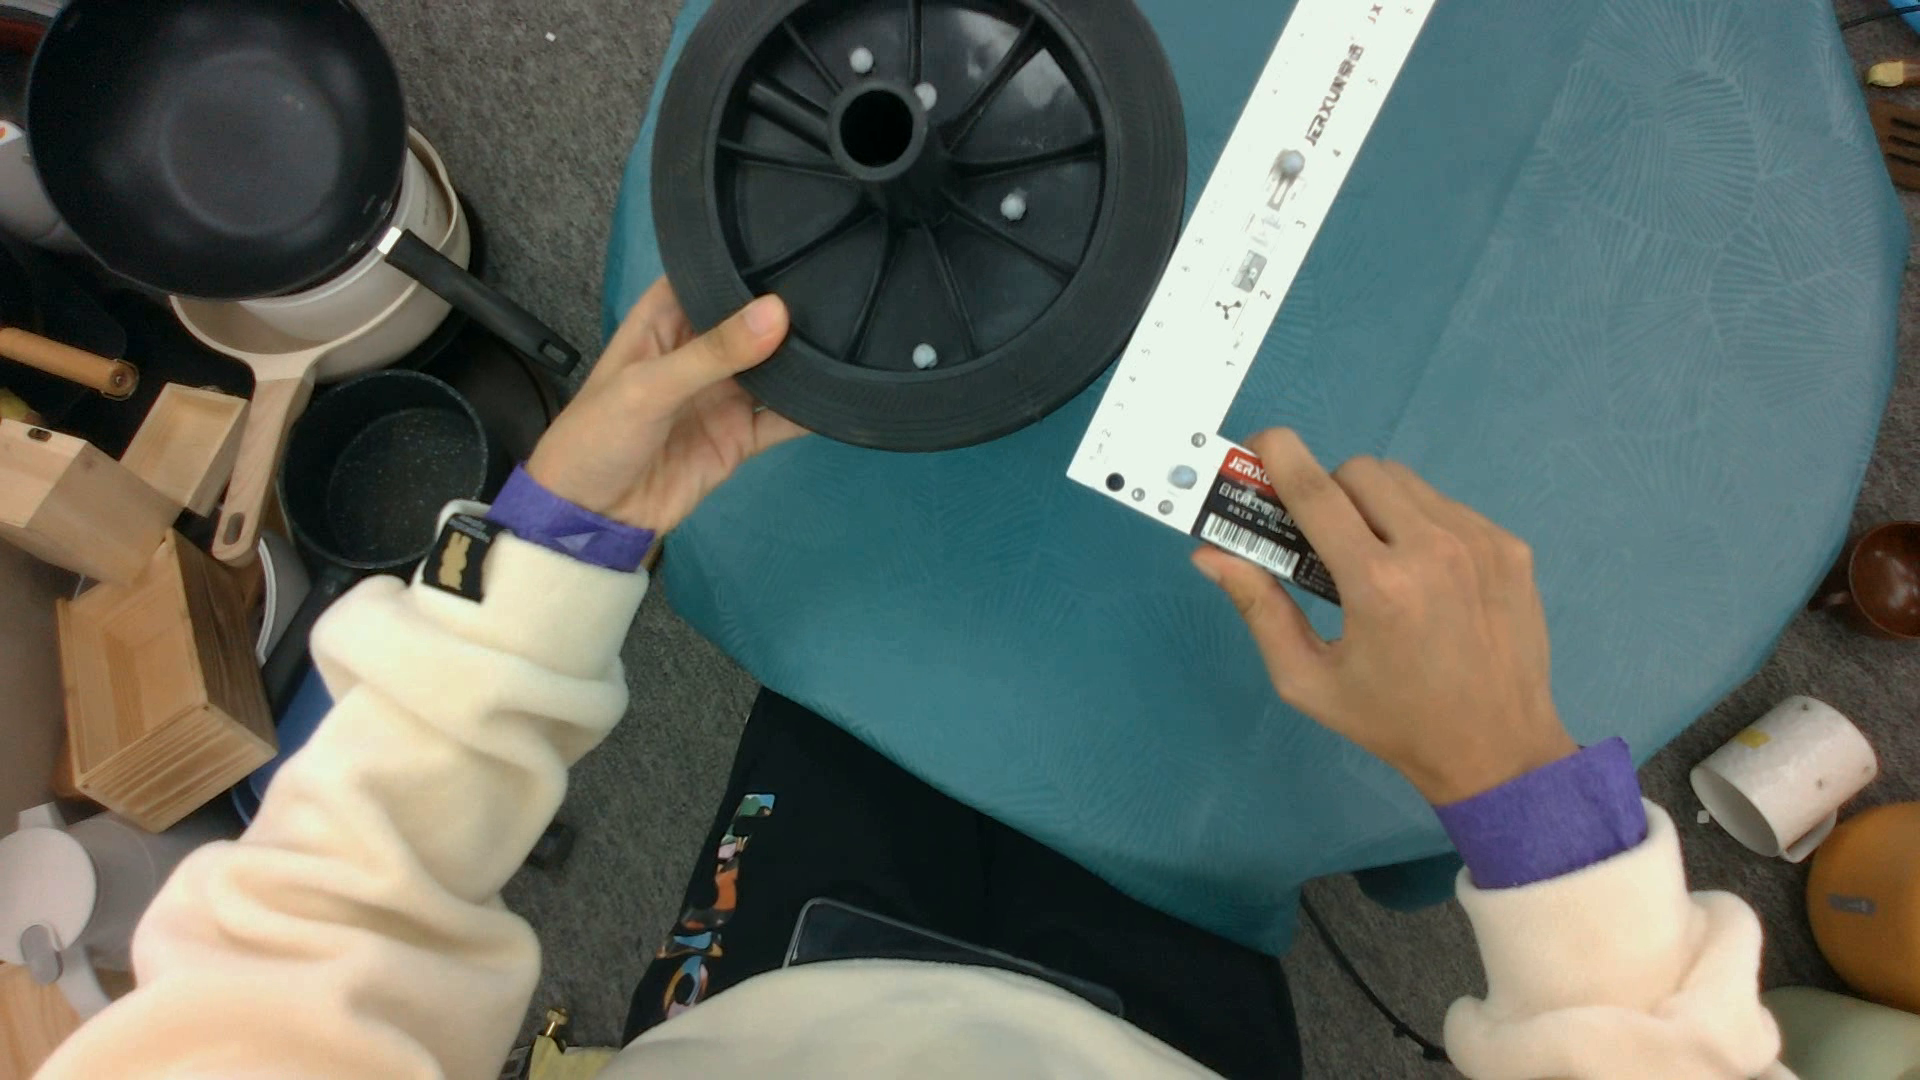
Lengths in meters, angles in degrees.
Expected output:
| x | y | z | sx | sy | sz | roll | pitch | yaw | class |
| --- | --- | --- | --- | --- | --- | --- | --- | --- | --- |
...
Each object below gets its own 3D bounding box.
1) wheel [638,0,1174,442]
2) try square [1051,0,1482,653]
| x | y | z | sx | sy | sz | roll | pitch | yaw | class |
| --- | --- | --- | --- | --- | --- | --- | --- | --- | --- |
| -0.023 | -0.128 | 0.465 | 0.190 | 0.079 | 0.187 | 8 | 91 | 8 | wheel |
| 0.164 | -0.131 | 0.468 | 0.152 | 0.016 | 0.313 | 25 | 92 | -5 | try square |
